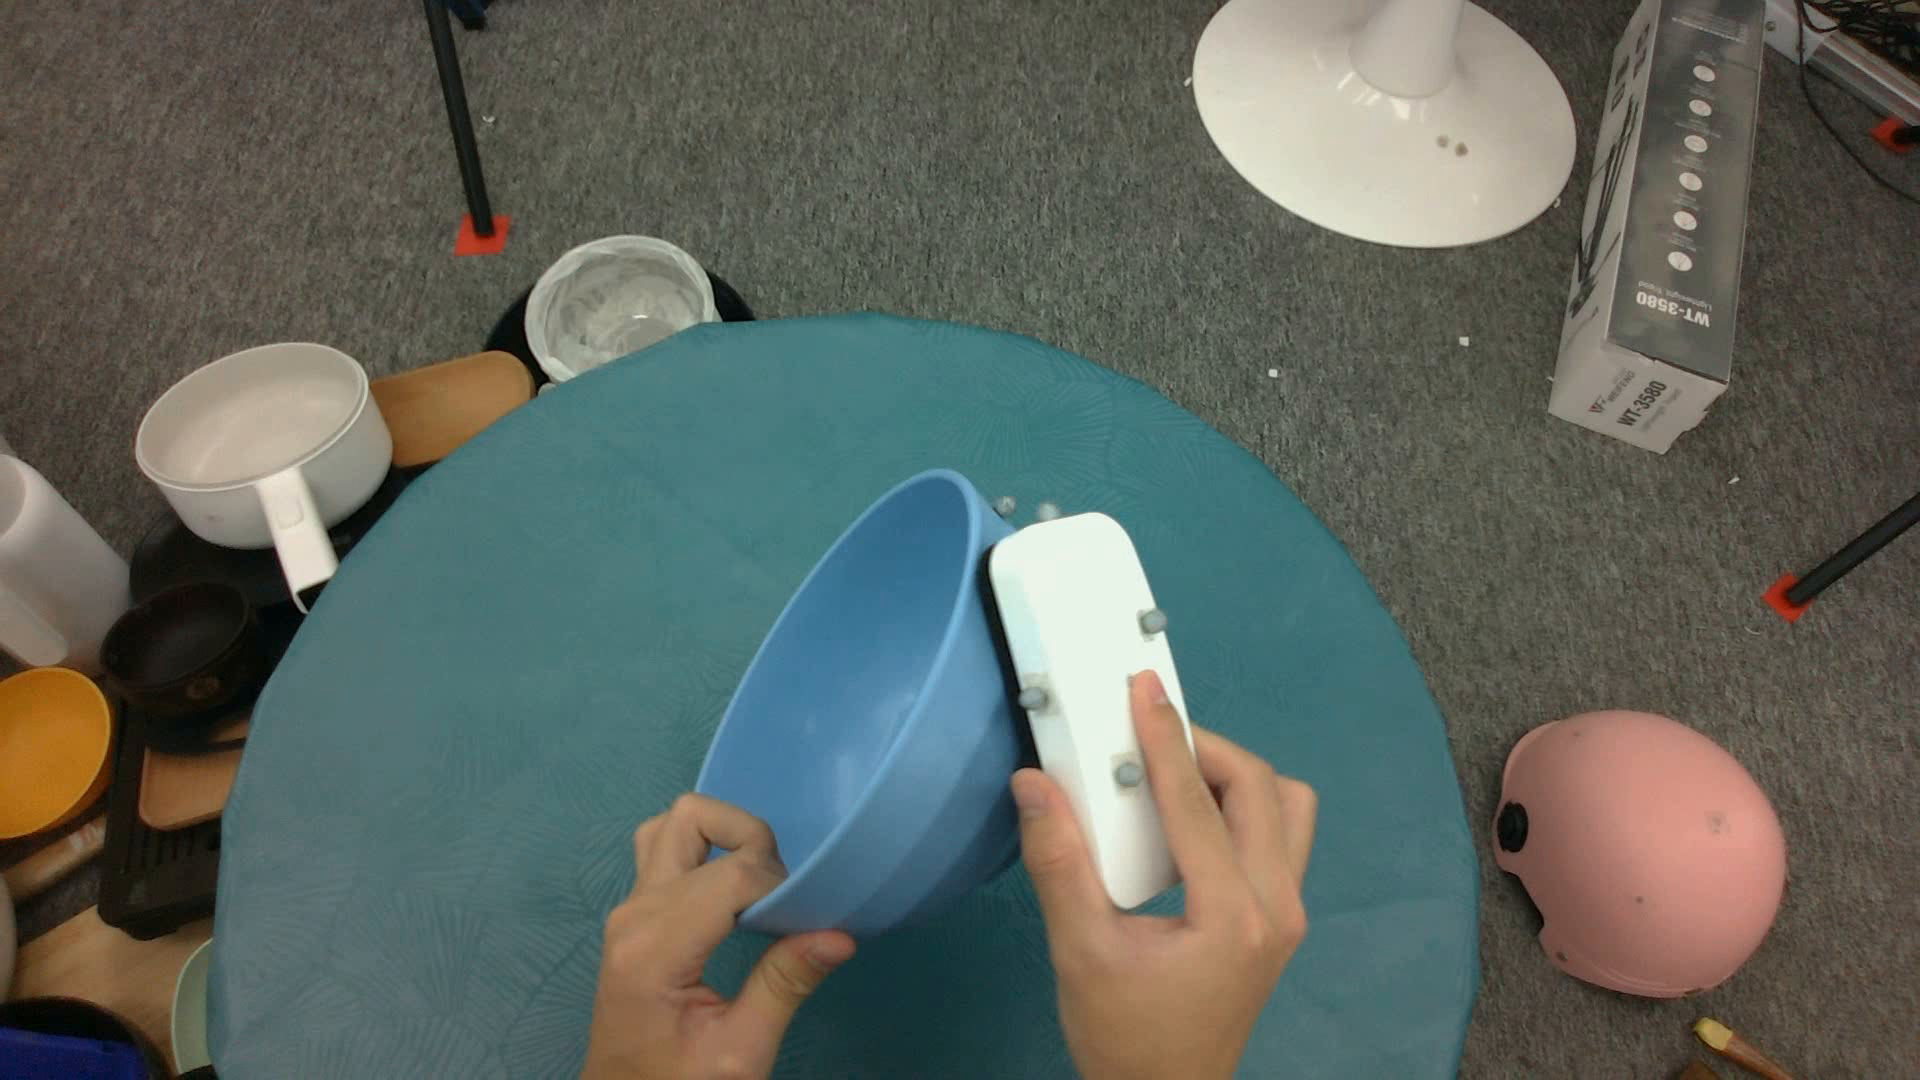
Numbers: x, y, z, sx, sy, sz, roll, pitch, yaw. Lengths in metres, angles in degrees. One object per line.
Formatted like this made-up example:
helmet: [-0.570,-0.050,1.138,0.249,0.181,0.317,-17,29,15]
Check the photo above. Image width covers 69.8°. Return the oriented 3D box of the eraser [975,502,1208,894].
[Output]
eraser: [0.047,0.054,0.477,0.063,0.034,0.131,-11,84,-45]

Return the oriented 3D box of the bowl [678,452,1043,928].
bowl: [-0.020,0.072,0.553,0.095,0.195,0.197,33,58,-22]
